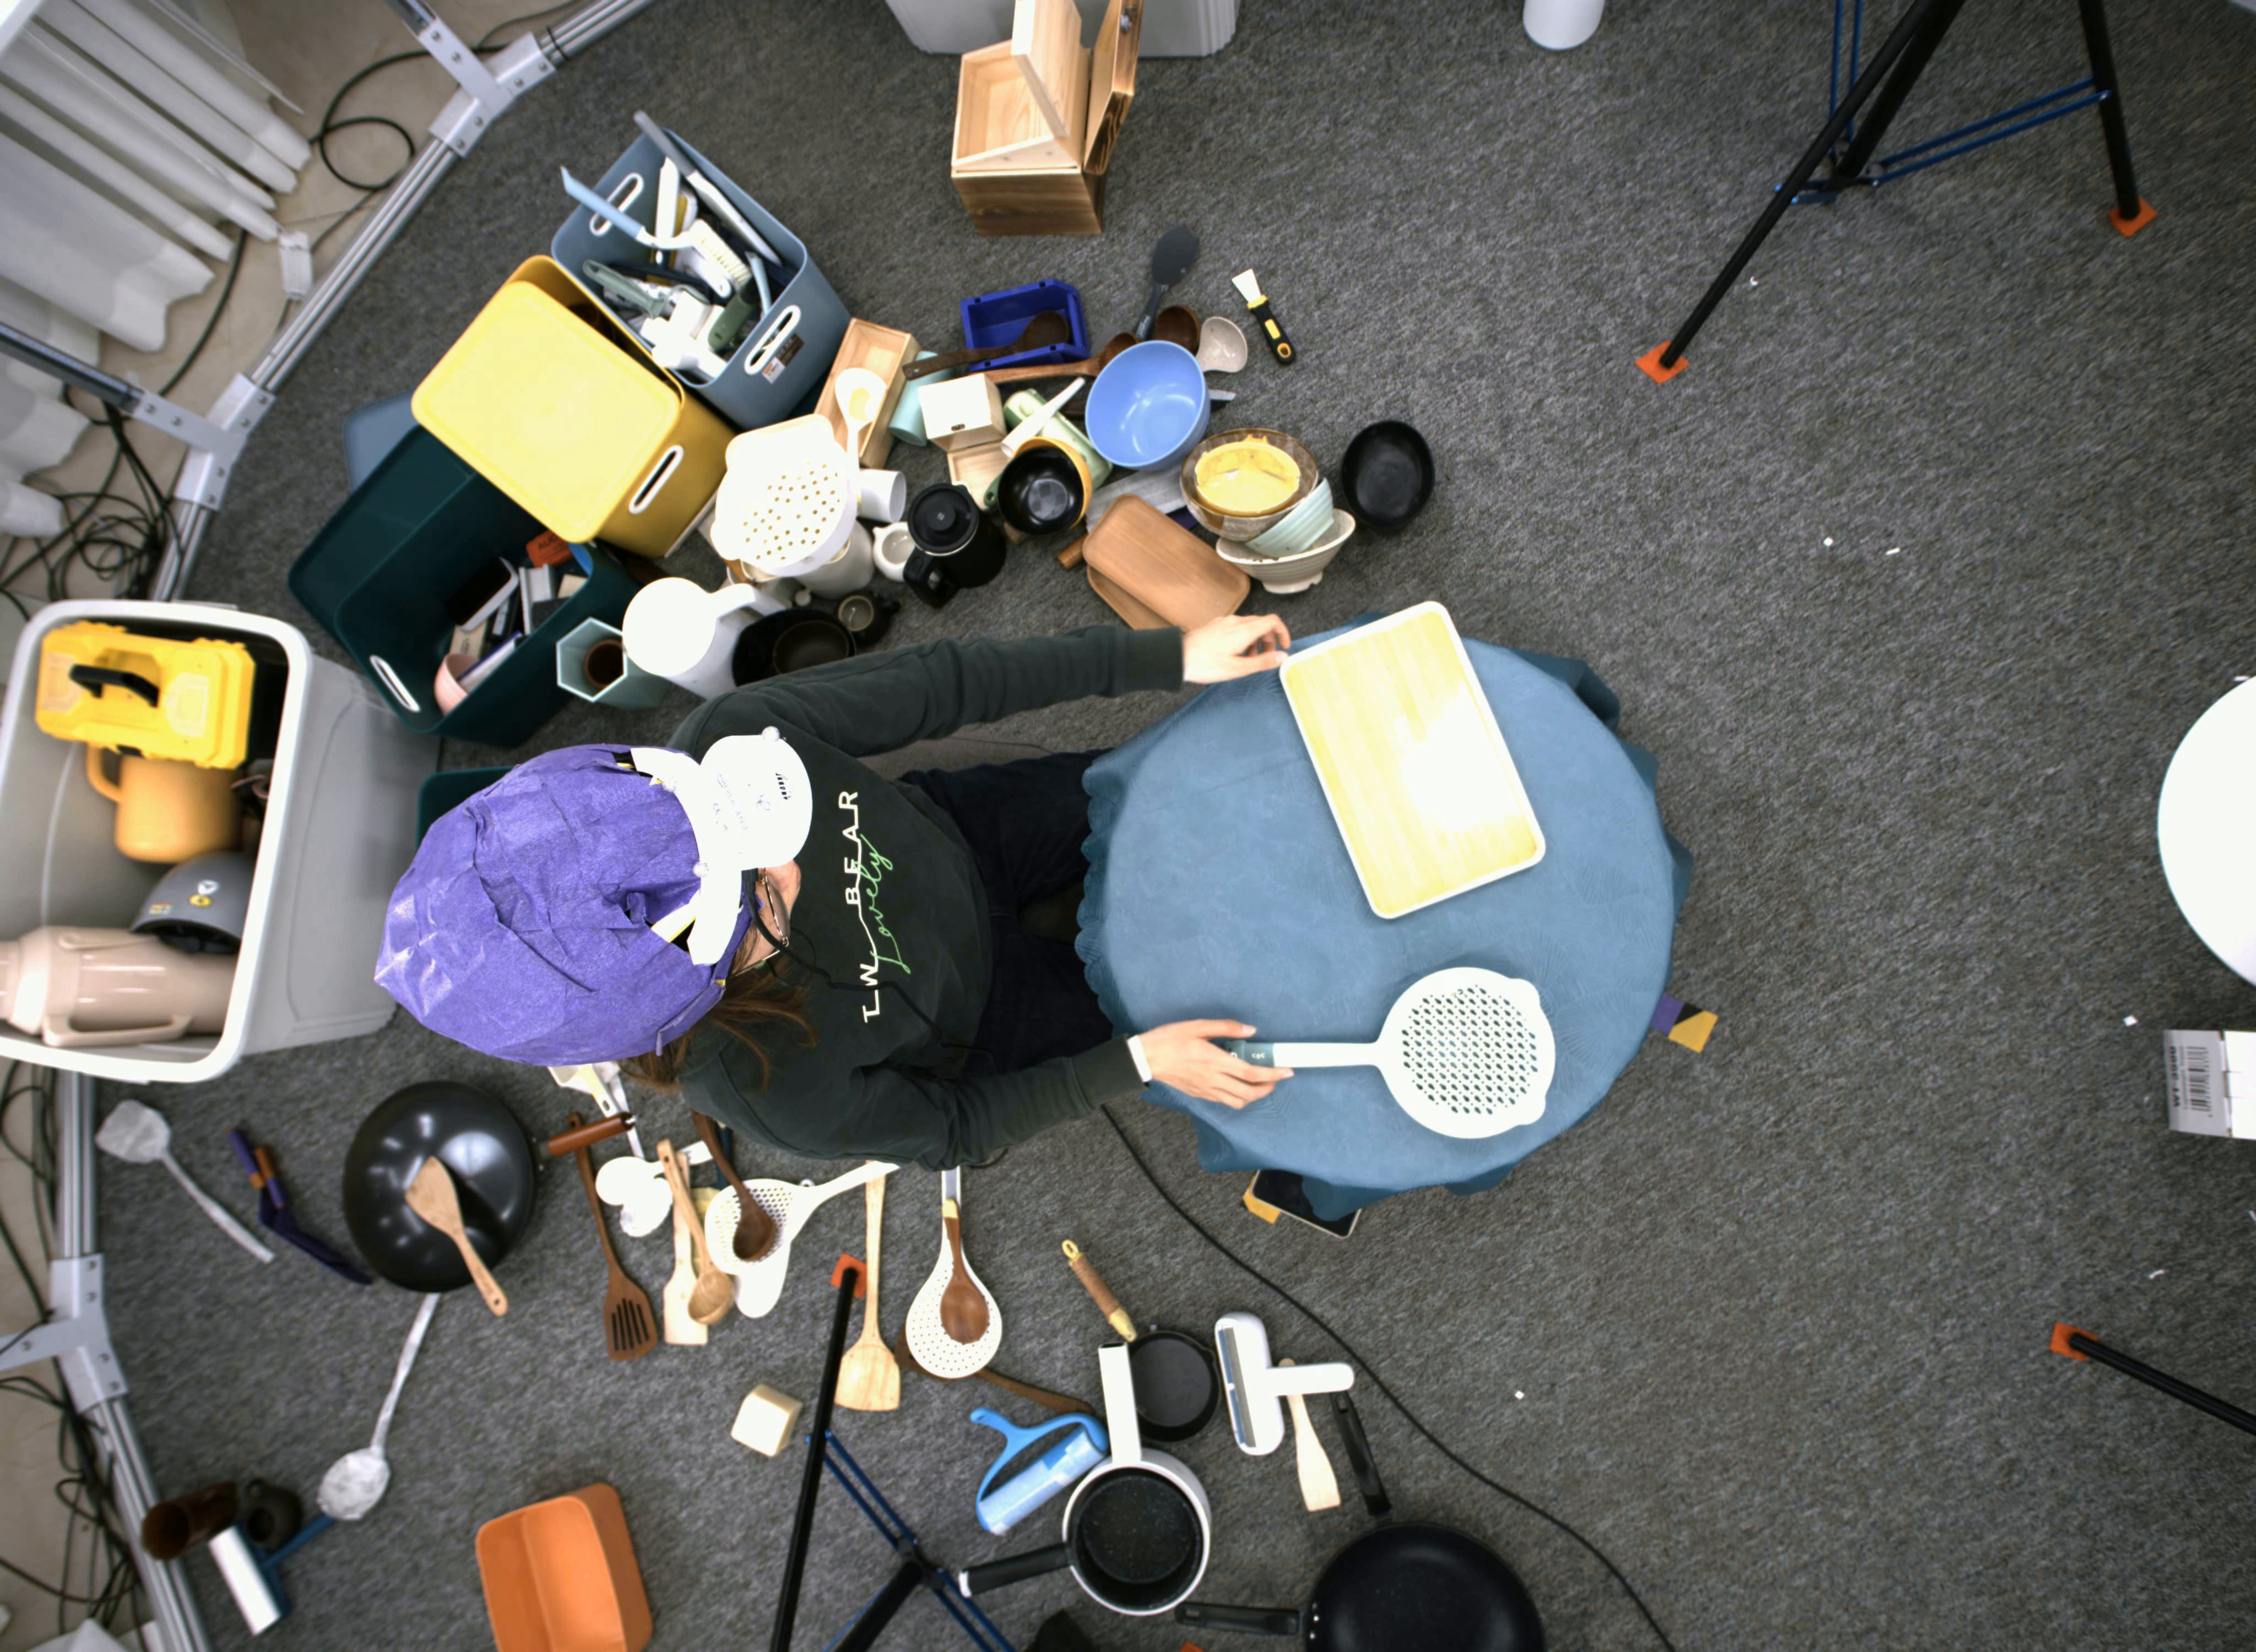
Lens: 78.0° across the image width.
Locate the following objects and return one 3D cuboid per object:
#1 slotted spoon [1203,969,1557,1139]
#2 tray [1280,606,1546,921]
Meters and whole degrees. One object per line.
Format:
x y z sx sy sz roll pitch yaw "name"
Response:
0.252 0.234 1.424 0.360 0.075 0.168 -3 85 10 "slotted spoon"
0.299 -0.068 1.456 0.192 0.027 0.298 -21 82 8 "tray"
